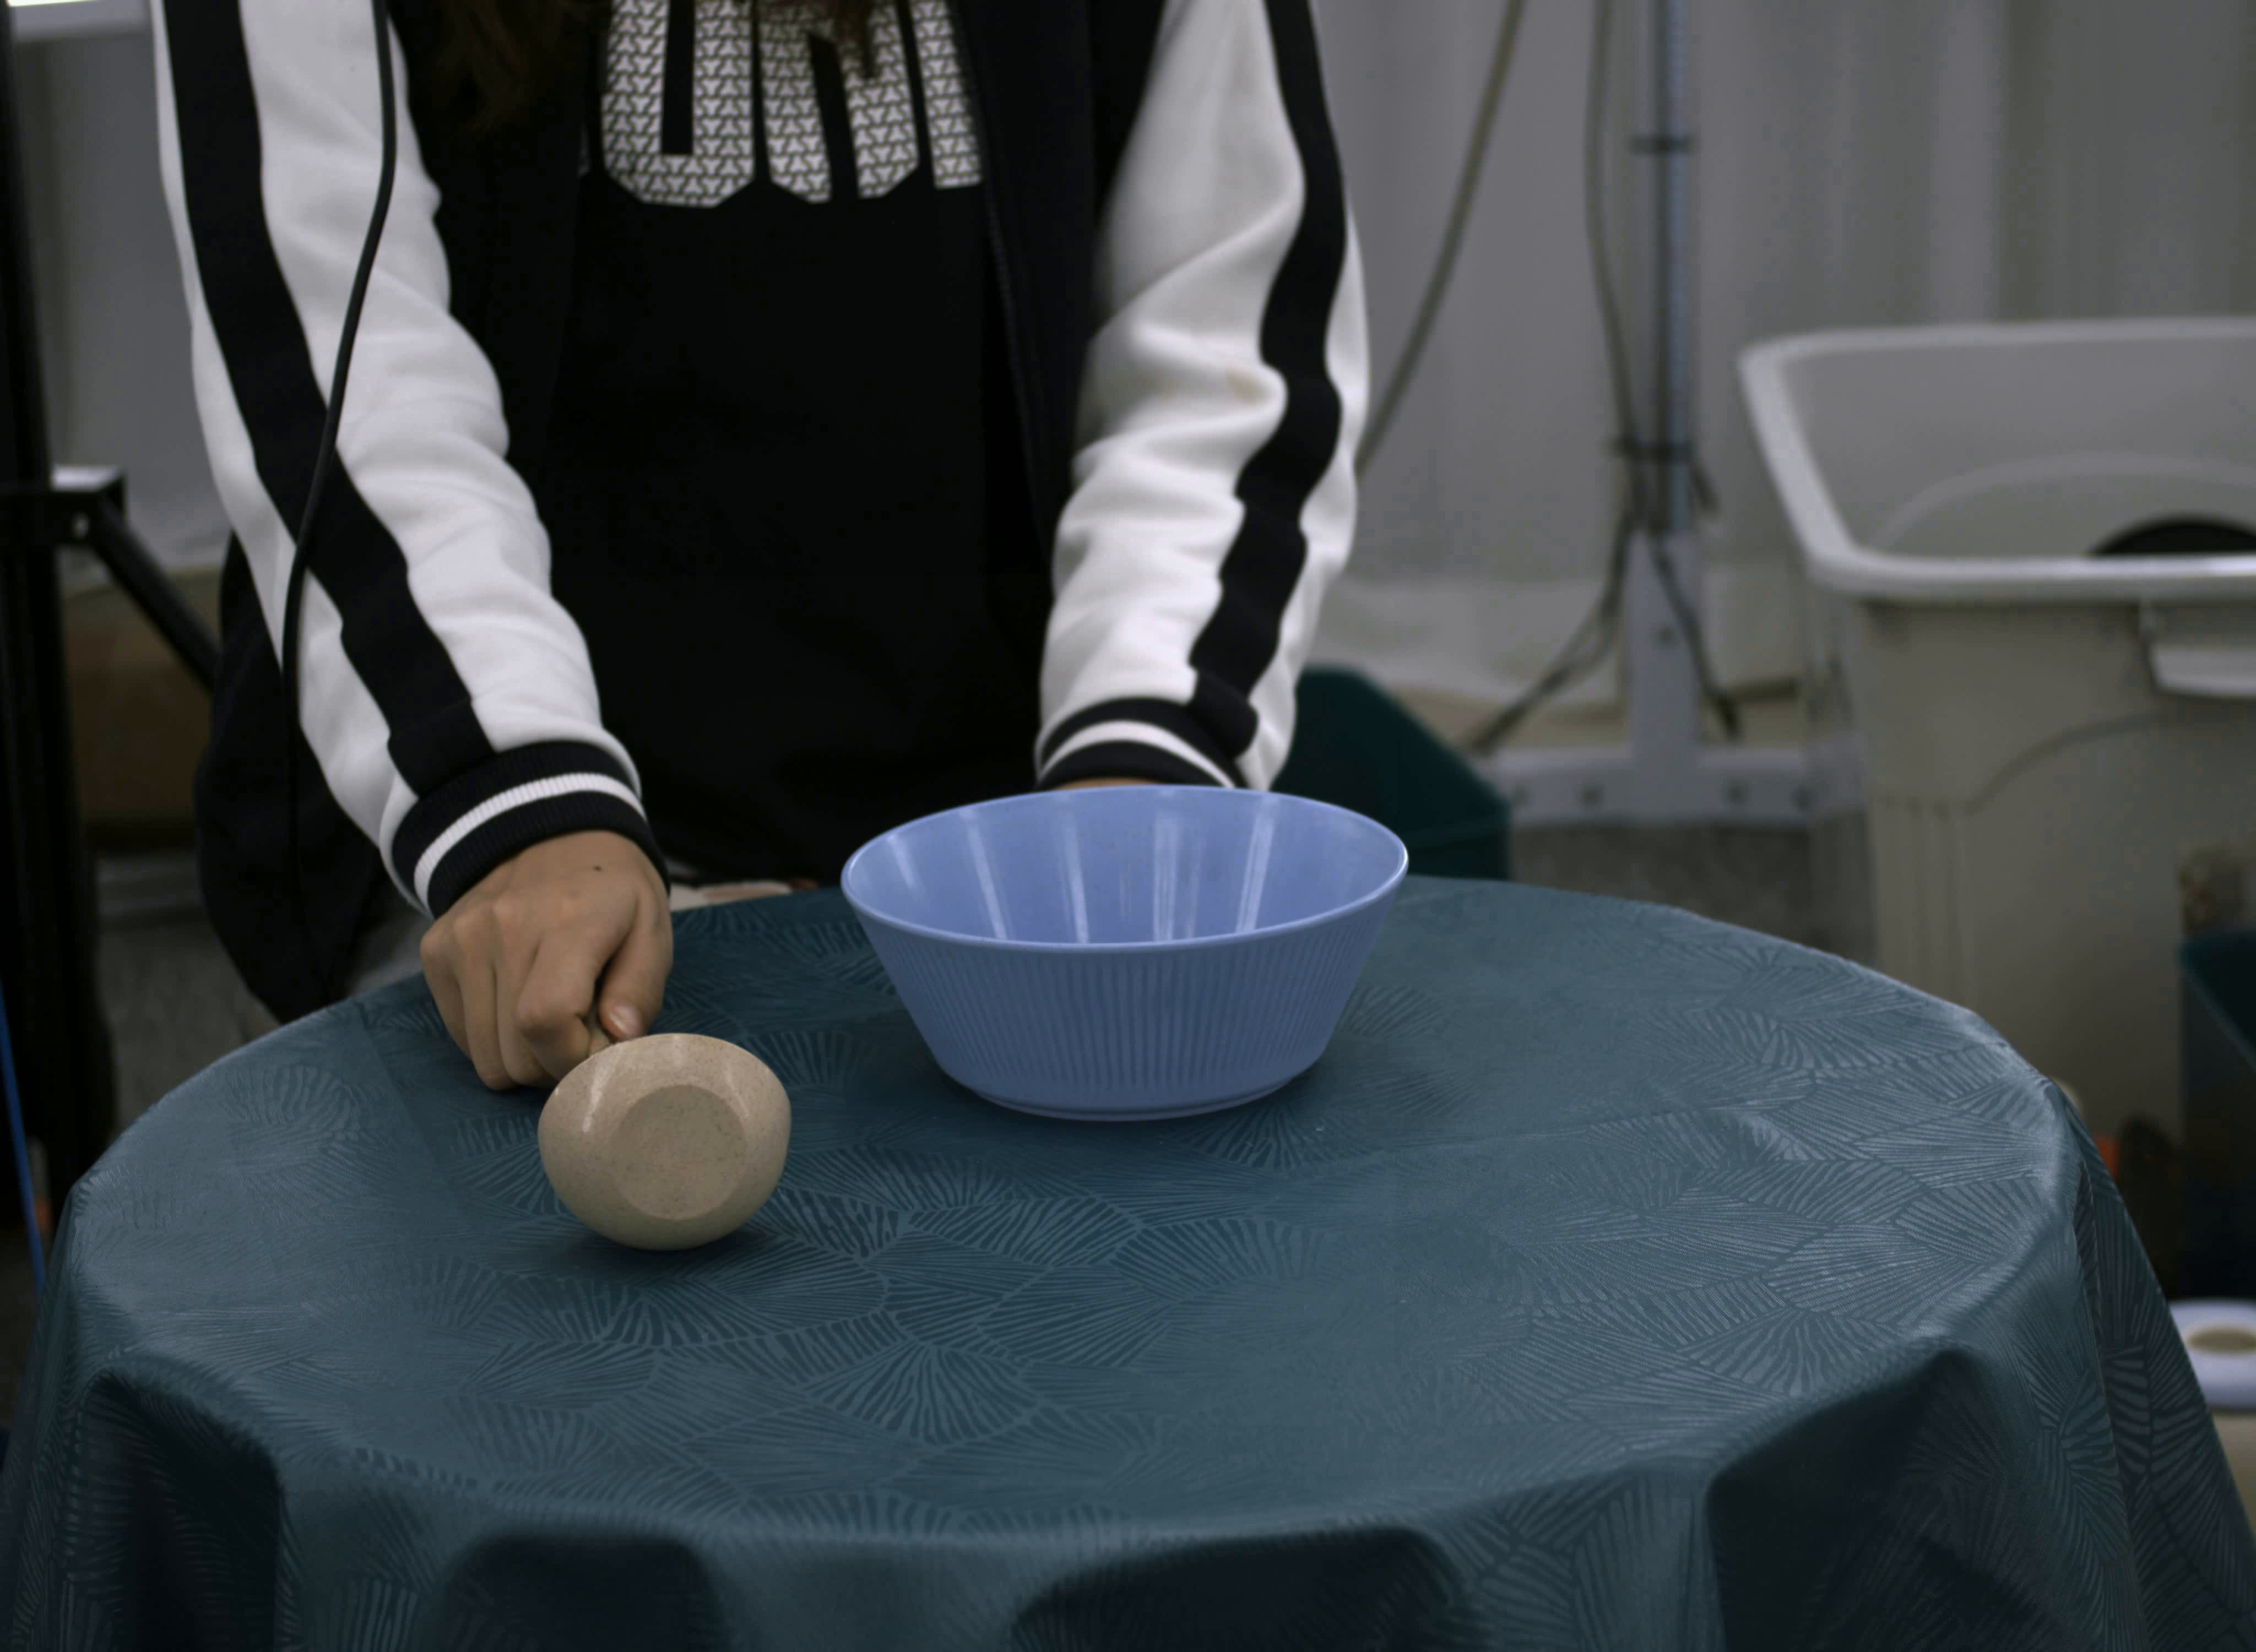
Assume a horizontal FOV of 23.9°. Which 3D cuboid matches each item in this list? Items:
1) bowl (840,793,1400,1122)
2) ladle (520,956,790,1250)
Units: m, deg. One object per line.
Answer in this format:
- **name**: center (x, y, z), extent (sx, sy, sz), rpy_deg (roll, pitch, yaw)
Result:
- **bowl**: center (-0.002, 0.043, 1.661), extent (0.175, 0.070, 0.177), rpy_deg (-2, 16, -1)
- **ladle**: center (-0.155, 0.054, 1.613), extent (0.071, 0.073, 0.258), rpy_deg (5, 18, -16)
